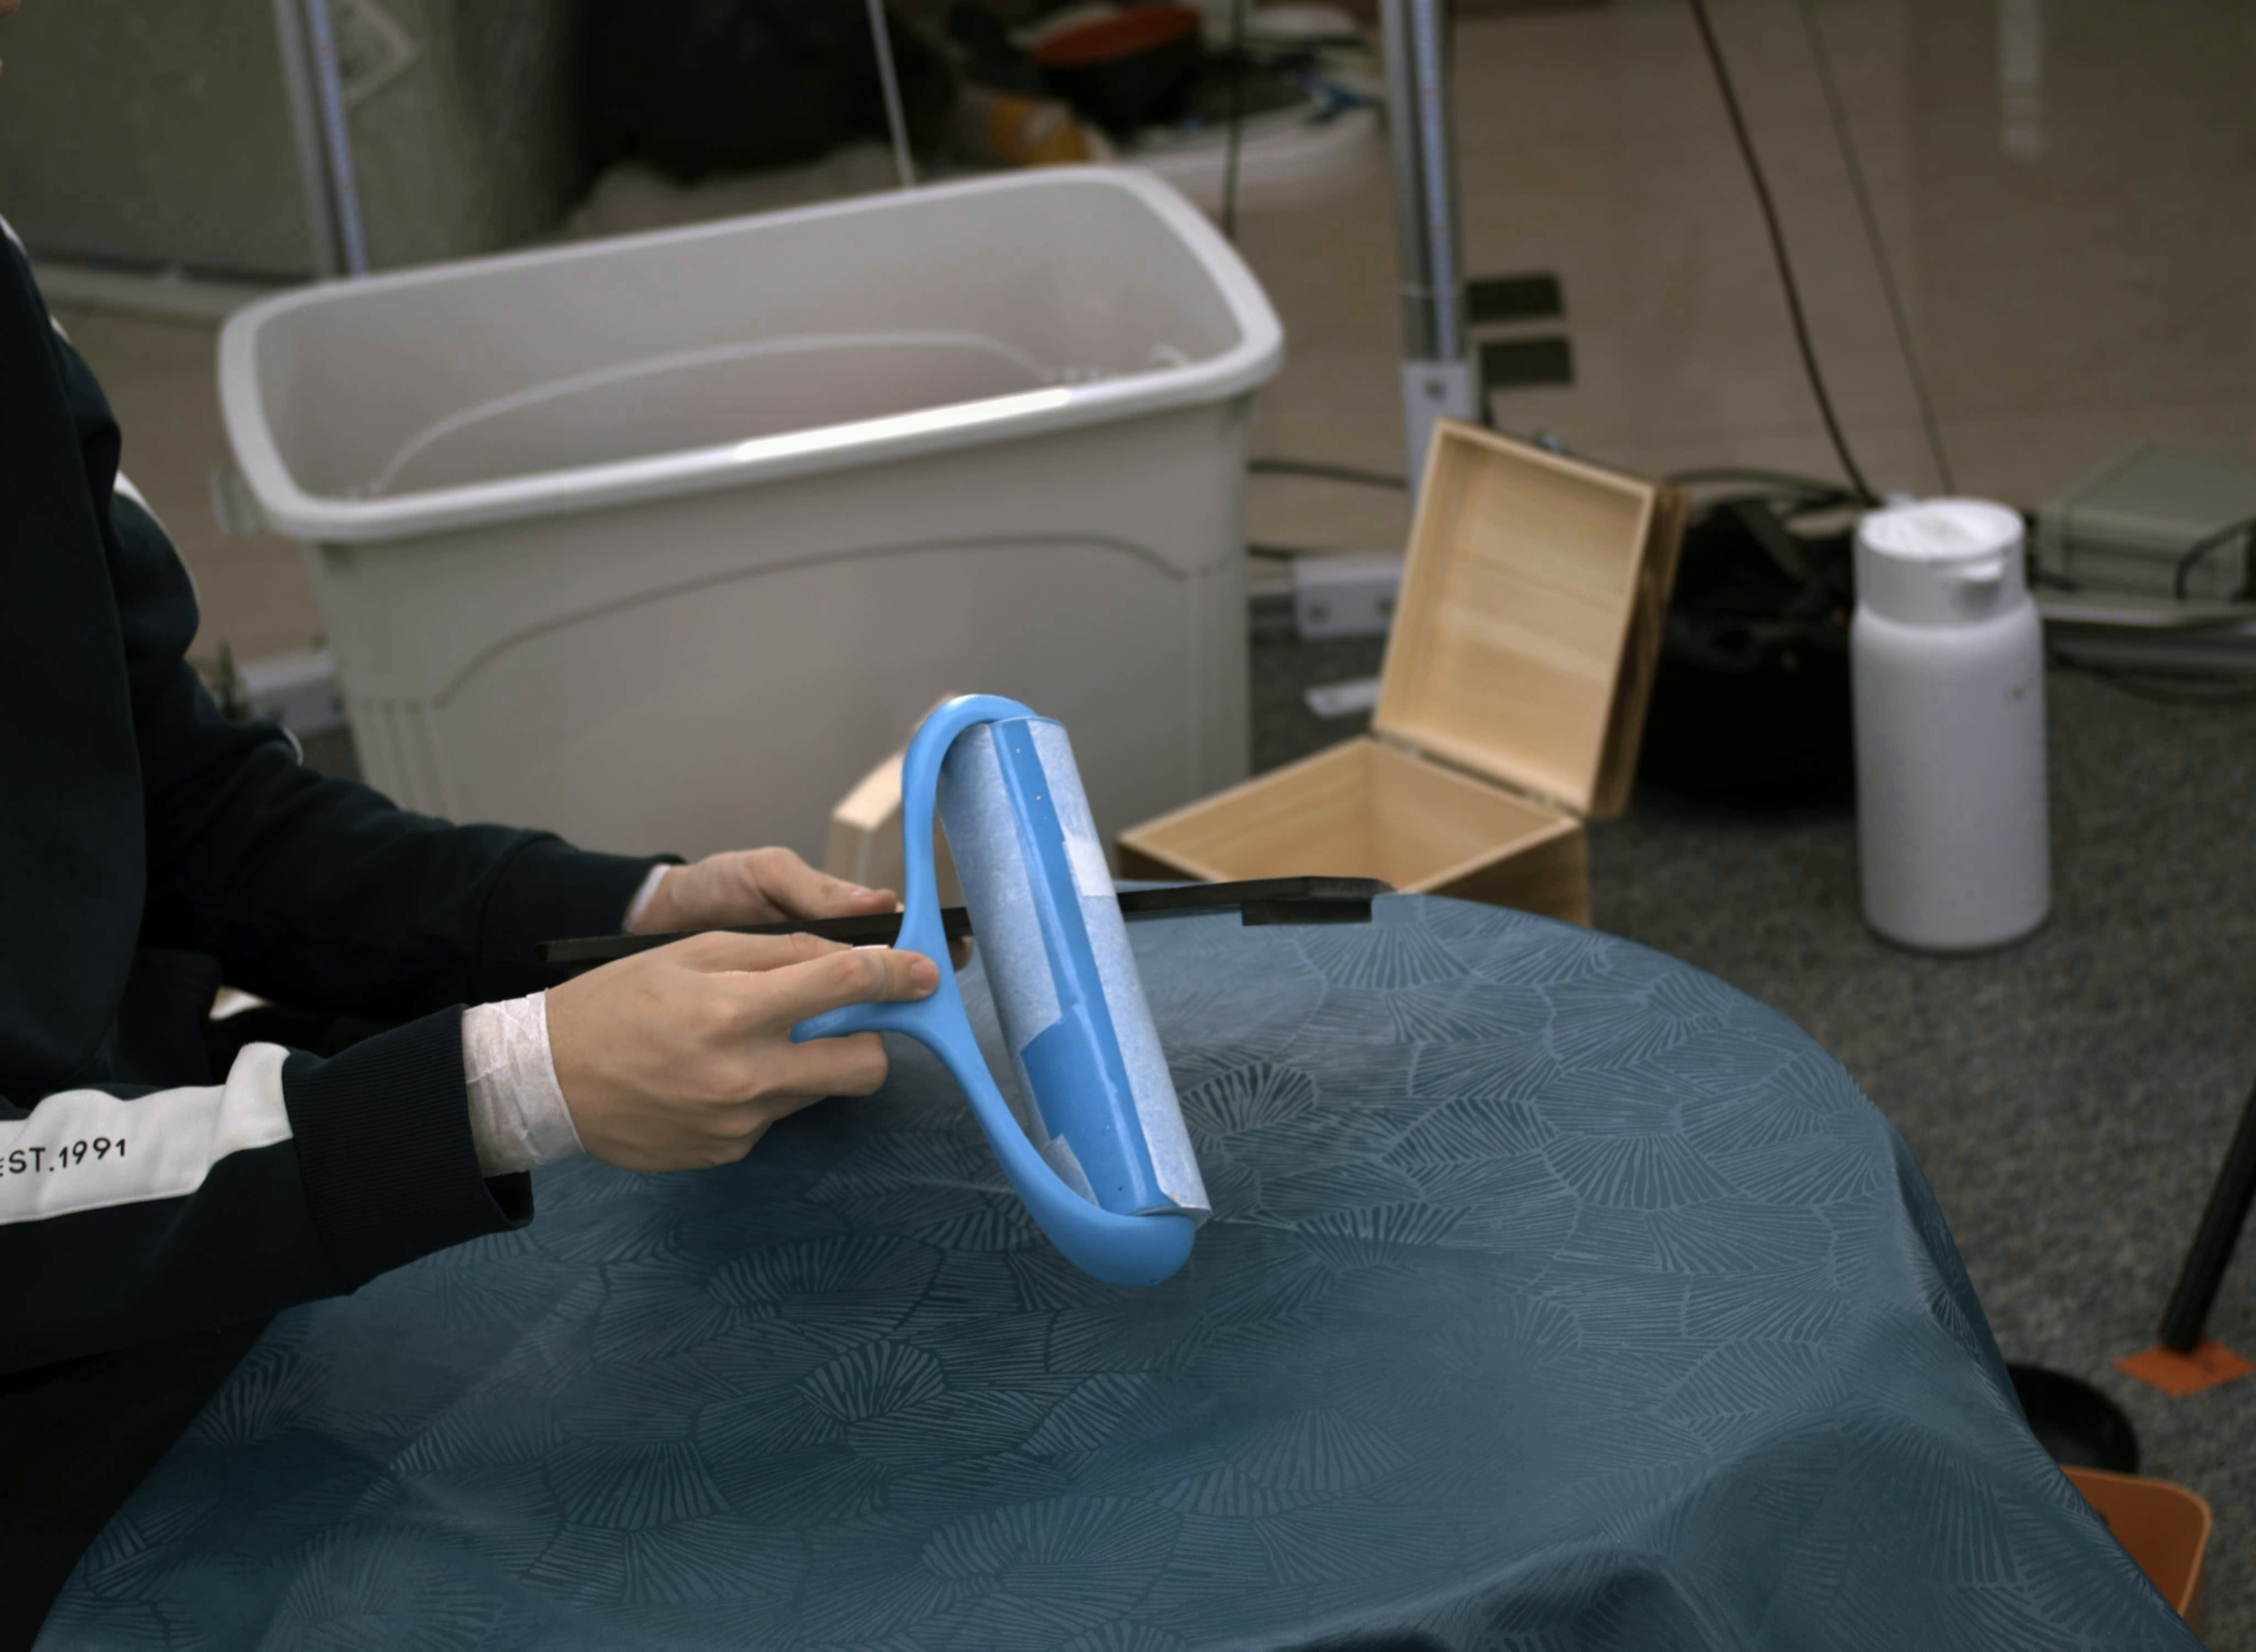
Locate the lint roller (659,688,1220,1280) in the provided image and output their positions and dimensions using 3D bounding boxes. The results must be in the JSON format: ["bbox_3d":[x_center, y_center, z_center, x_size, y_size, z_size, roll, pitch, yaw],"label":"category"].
[{"bbox_3d":[-0.076,0.069,2.012,0.179,0.227,0.069,-15,-17,-15],"label":"lint roller"}]

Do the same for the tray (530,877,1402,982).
[{"bbox_3d":[-0.060,0.041,2.167,0.305,0.018,0.170,-5,-3,17],"label":"tray"}]
